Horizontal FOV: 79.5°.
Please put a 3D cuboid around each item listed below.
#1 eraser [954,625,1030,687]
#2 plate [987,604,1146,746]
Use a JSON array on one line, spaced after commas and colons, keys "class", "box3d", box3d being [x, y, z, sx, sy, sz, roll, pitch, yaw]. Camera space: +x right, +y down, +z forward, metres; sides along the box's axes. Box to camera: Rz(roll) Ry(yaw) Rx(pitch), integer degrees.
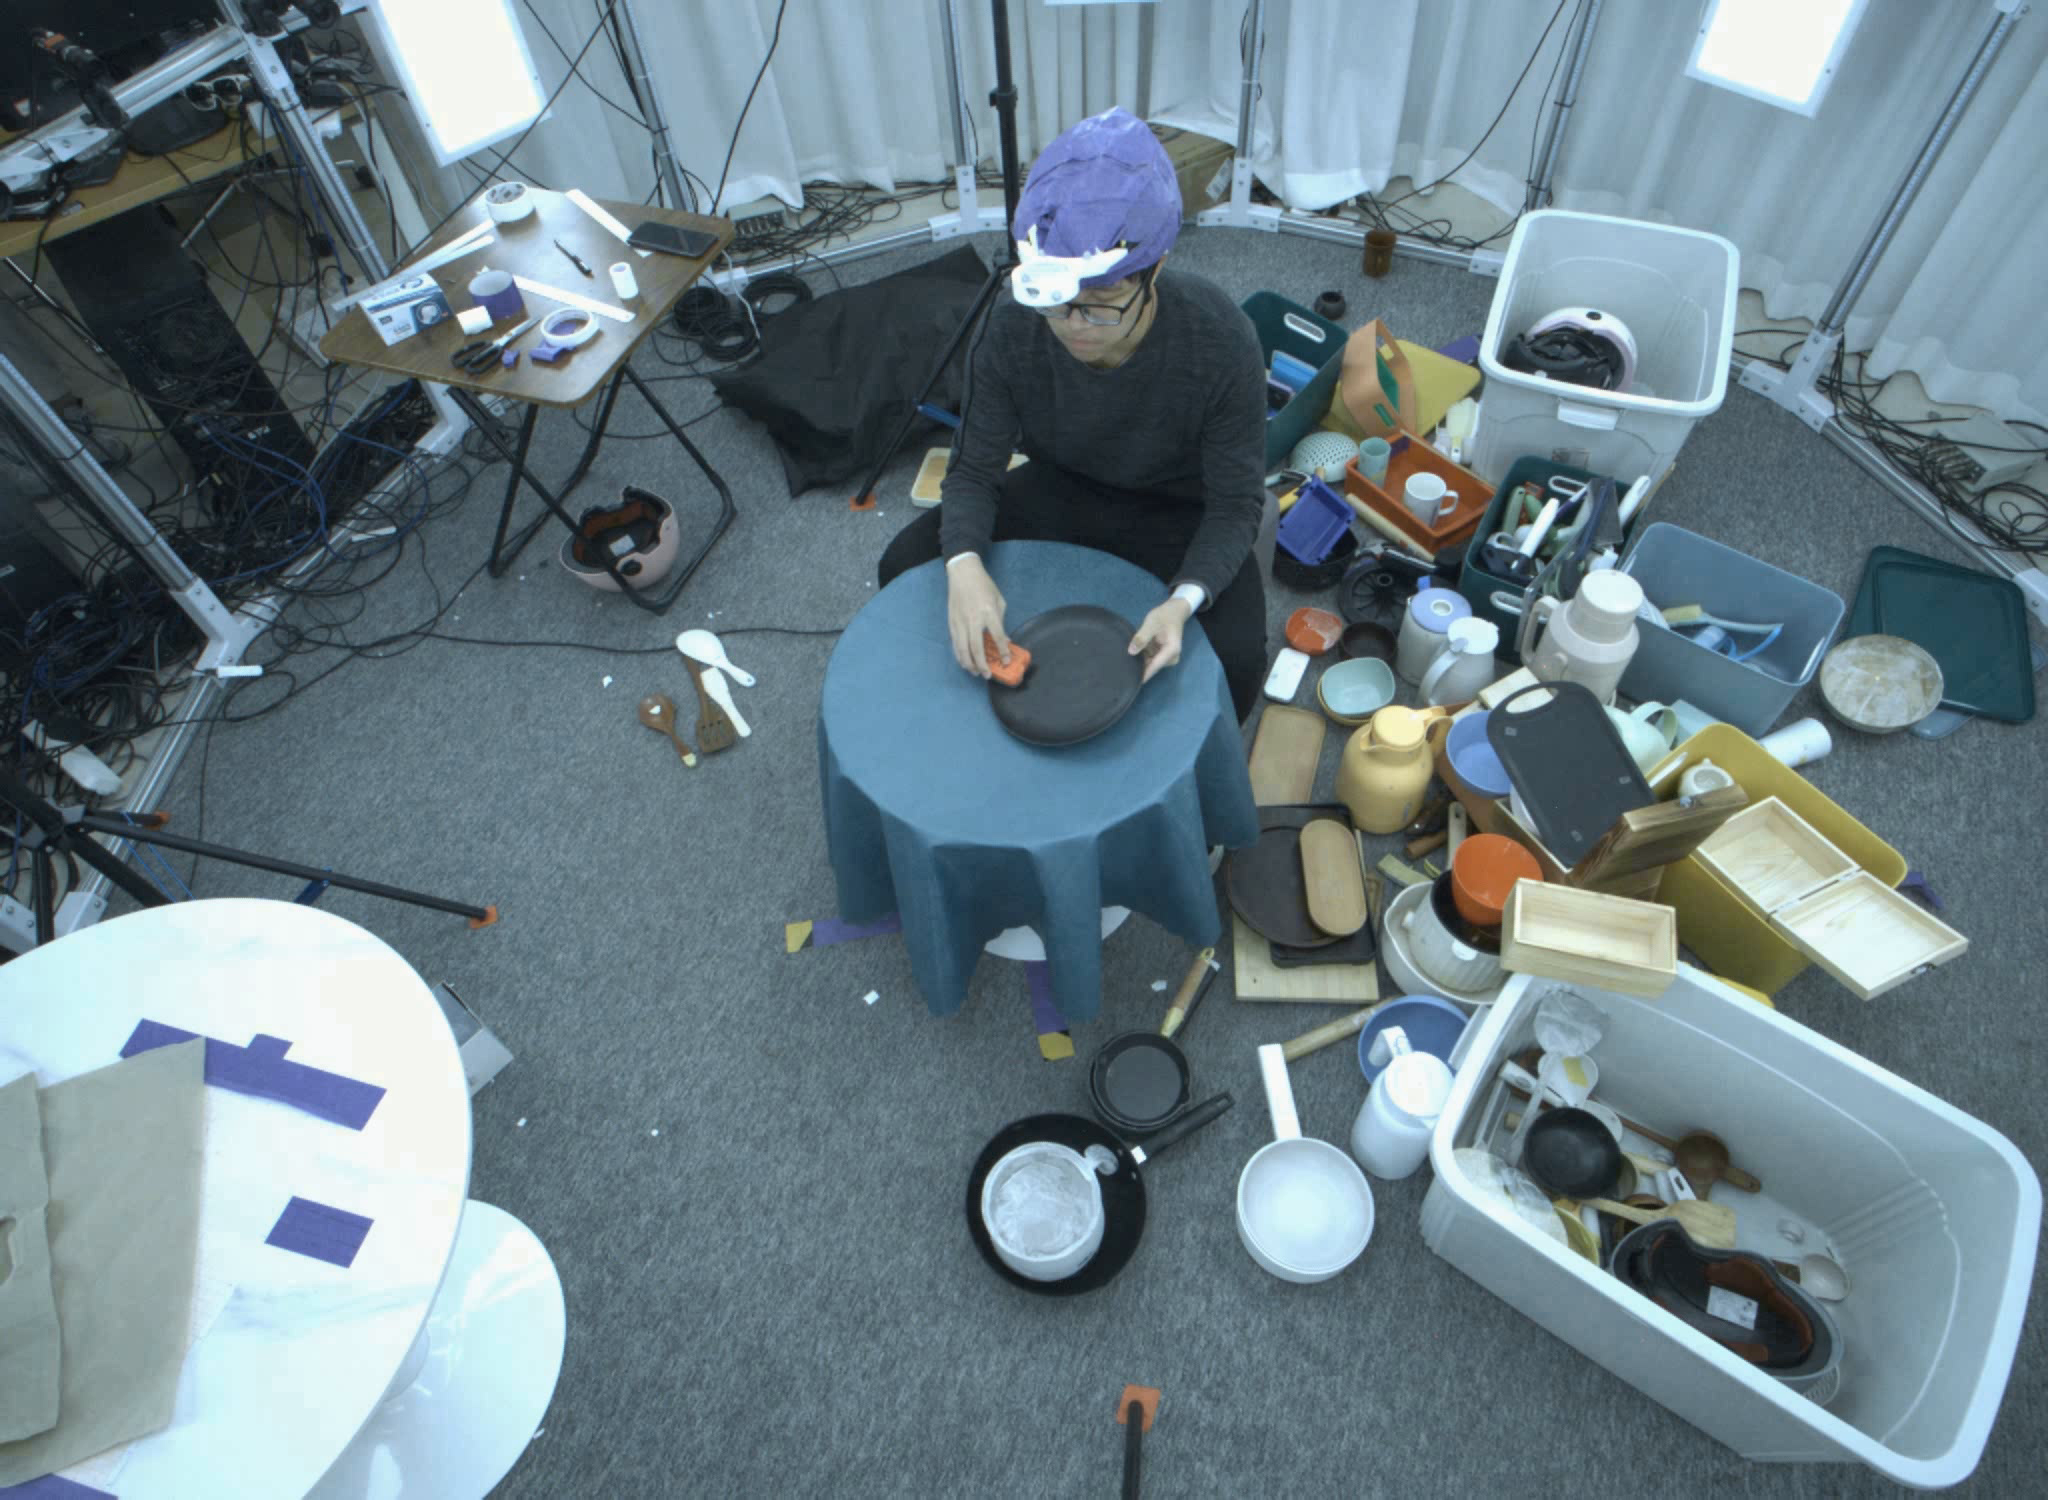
[{"class": "eraser", "box3d": [-0.049, -0.142, 1.847, 0.107, 0.023, 0.059, 28, 71, 15]}, {"class": "plate", "box3d": [0.063, -0.109, 1.819, 0.242, 0.024, 0.242, -8, 61, 15]}]
